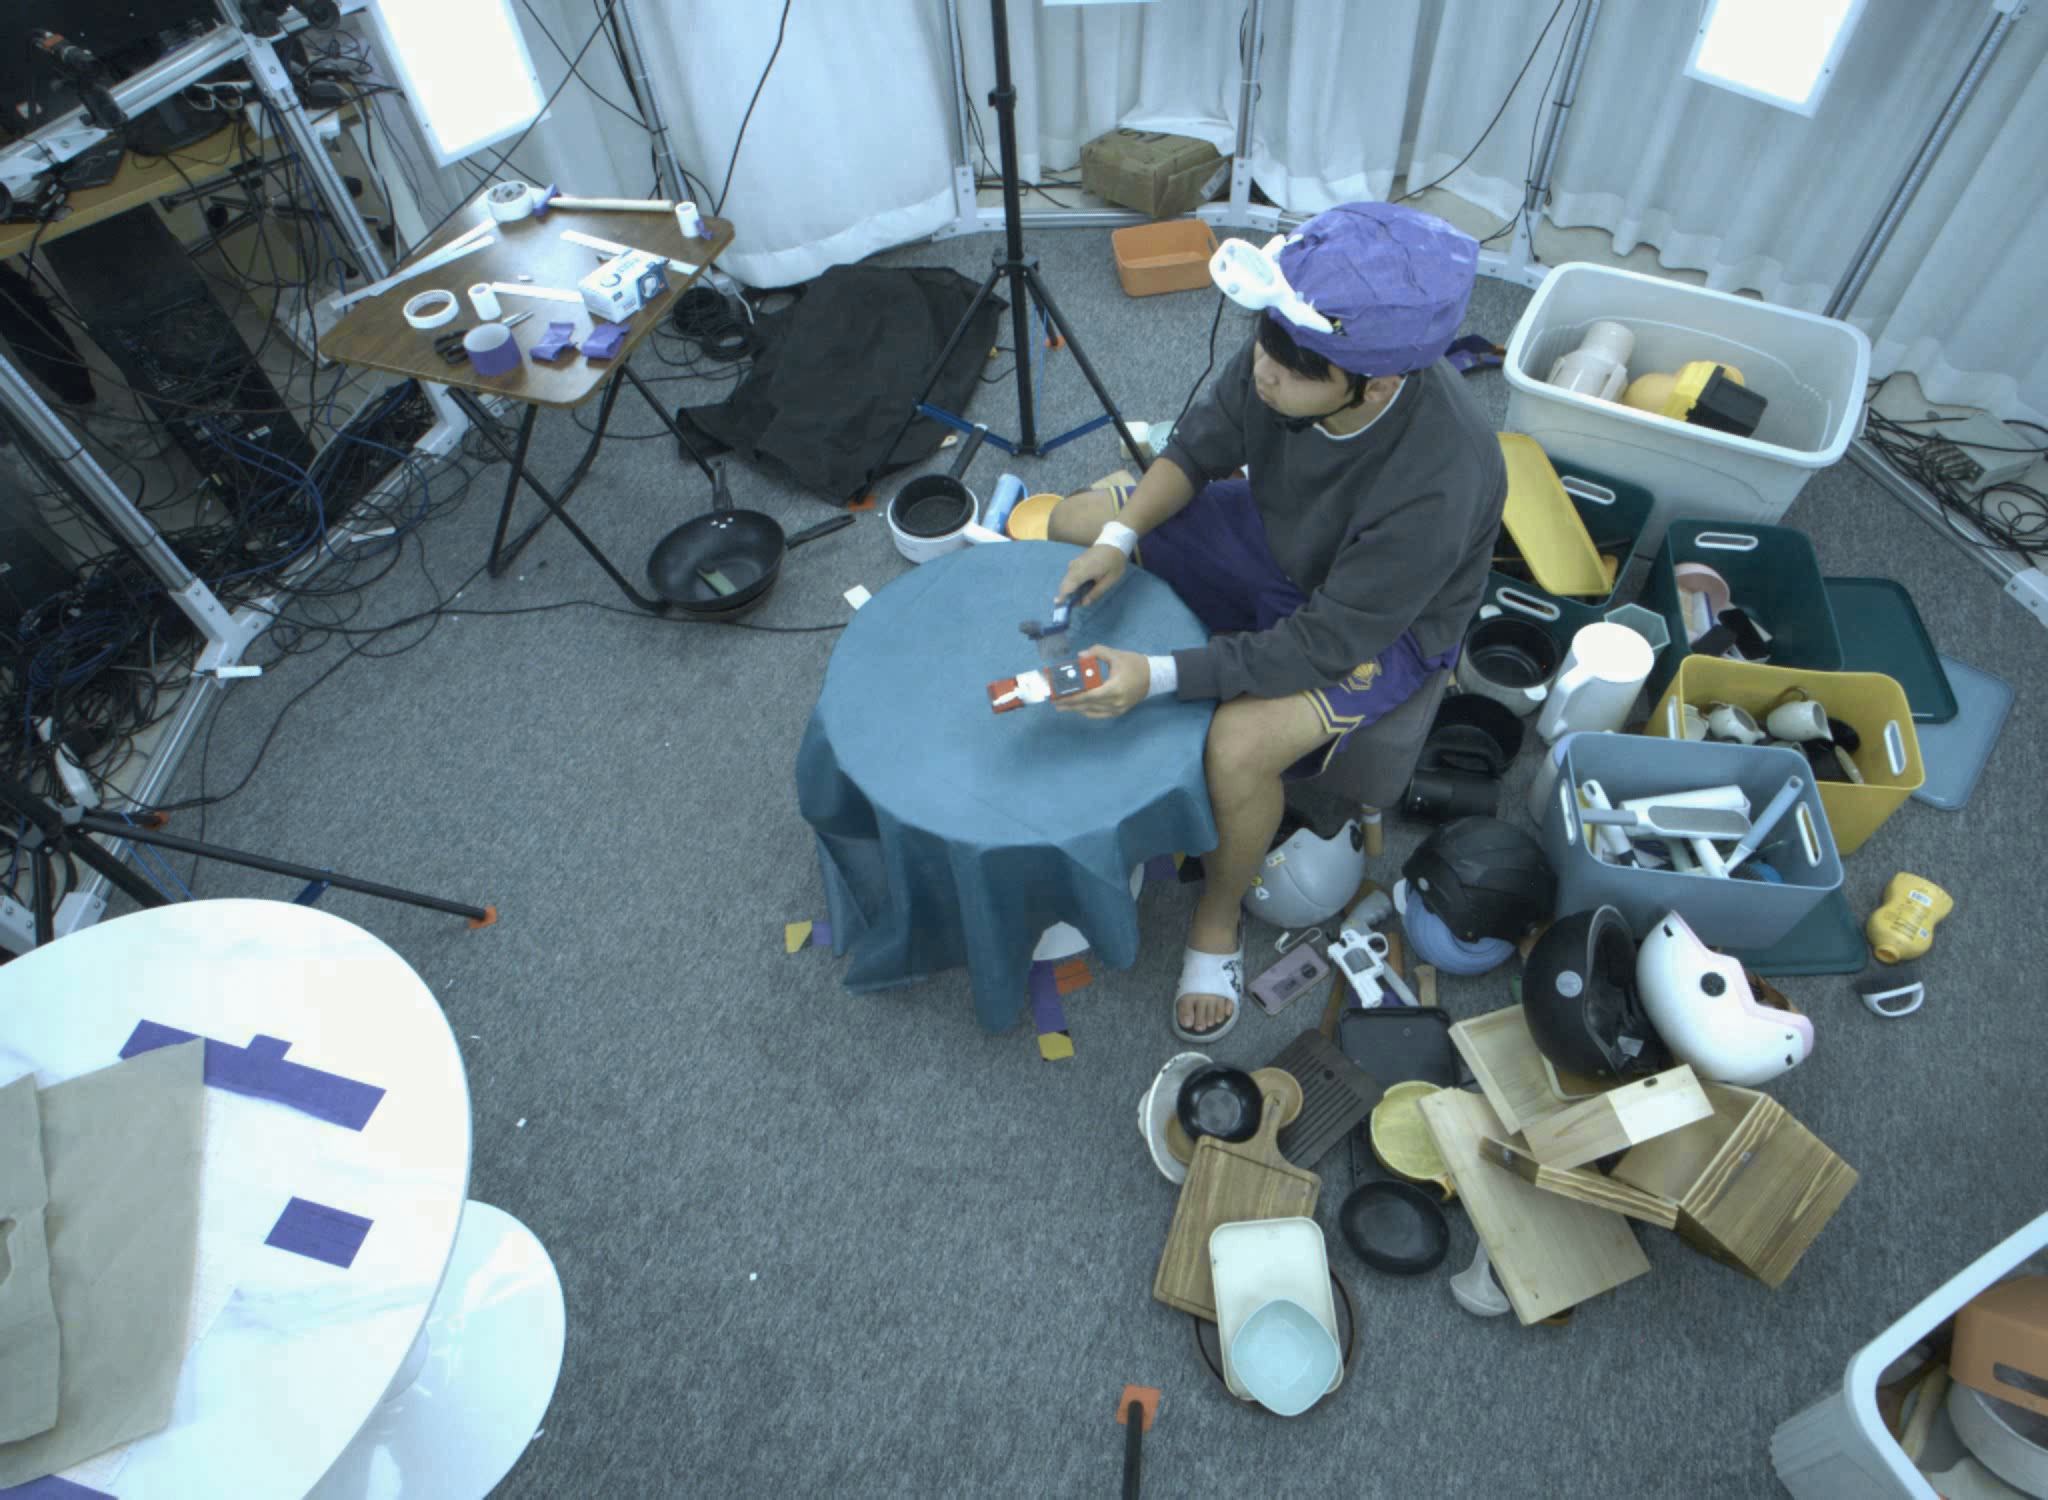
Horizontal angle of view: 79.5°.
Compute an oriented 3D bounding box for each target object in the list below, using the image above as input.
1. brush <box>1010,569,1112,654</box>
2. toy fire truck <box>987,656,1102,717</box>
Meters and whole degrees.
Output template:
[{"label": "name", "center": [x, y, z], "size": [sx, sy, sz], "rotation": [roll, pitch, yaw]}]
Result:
[{"label": "brush", "center": [0.061, -0.225, 1.818], "size": [0.033, 0.097, 0.273], "rotation": [-19, 25, 35]}, {"label": "toy fire truck", "center": [0.029, -0.090, 1.748], "size": [0.169, 0.070, 0.054], "rotation": [-16, 91, -10]}]
